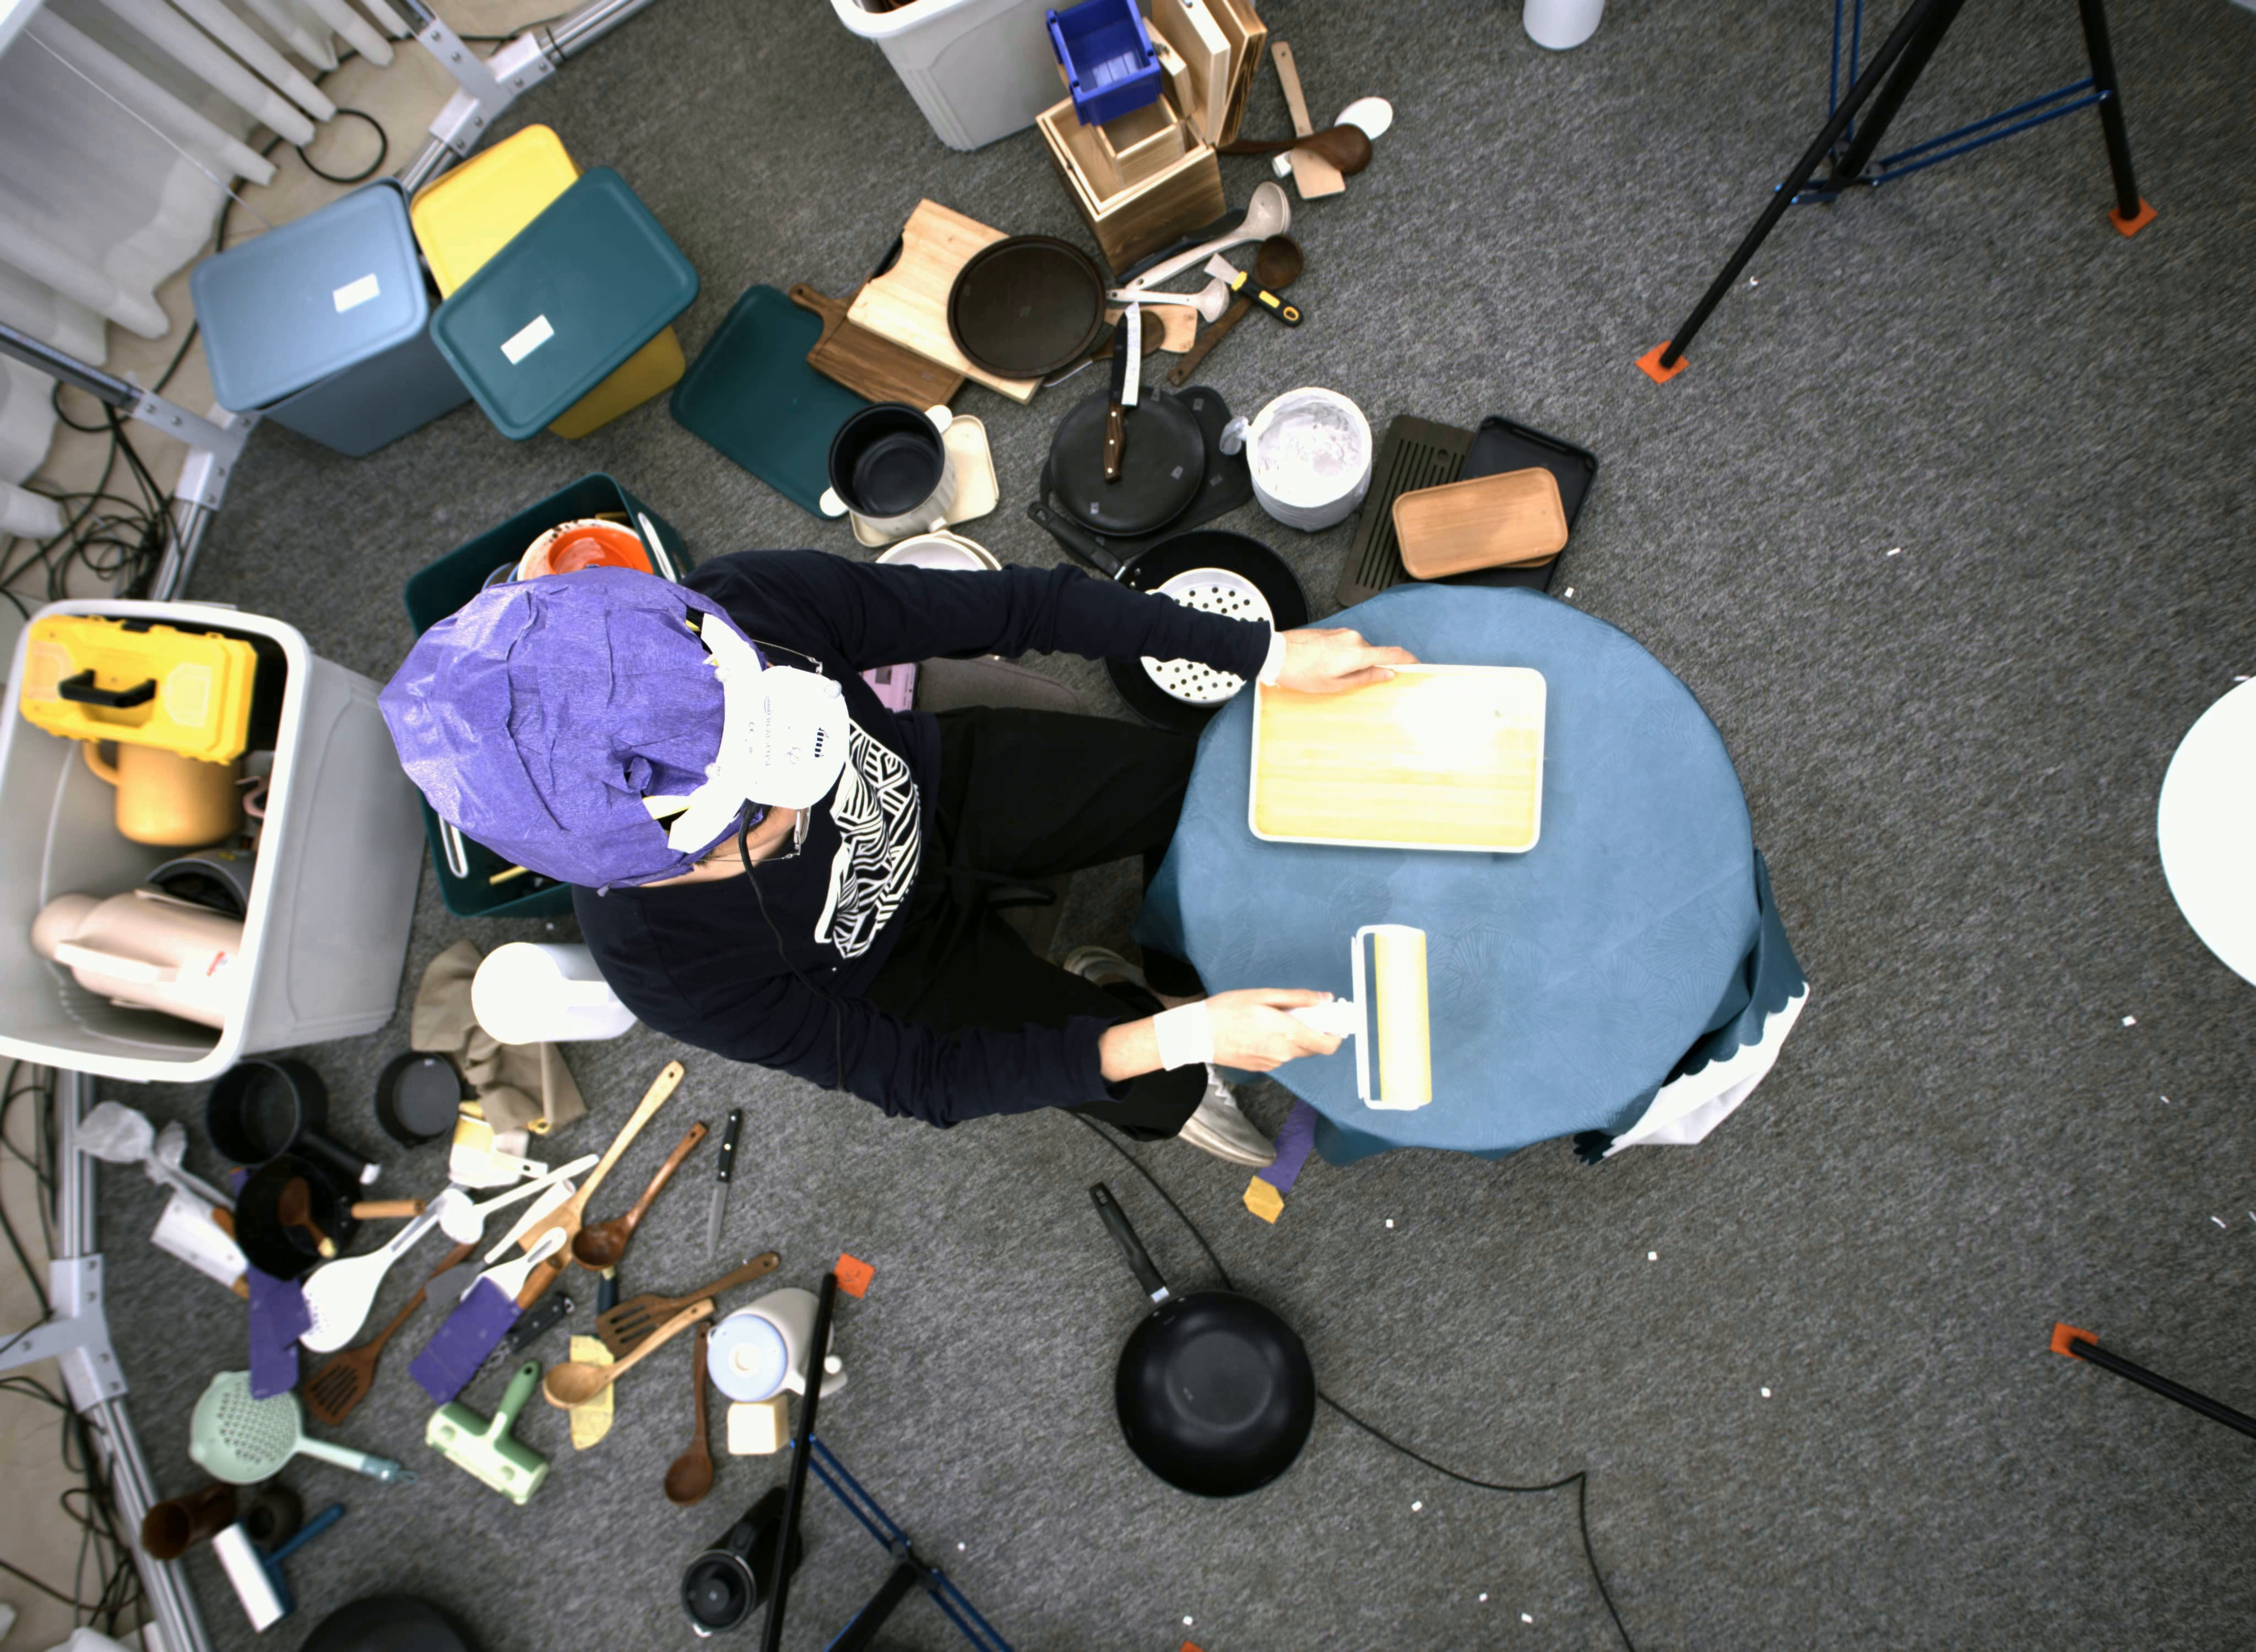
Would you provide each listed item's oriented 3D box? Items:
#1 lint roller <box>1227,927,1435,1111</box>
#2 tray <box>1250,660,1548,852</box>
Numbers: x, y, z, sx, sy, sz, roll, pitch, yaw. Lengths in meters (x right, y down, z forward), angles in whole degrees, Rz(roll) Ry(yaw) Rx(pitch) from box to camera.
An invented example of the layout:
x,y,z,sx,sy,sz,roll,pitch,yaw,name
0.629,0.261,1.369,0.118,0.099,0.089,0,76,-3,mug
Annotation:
x,y,z,sx,sy,sz,roll,pitch,yaw,name
0.192,0.187,1.315,0.192,0.051,0.174,-4,94,-2,lint roller
0.282,-0.076,1.443,0.301,0.027,0.192,3,92,11,tray
